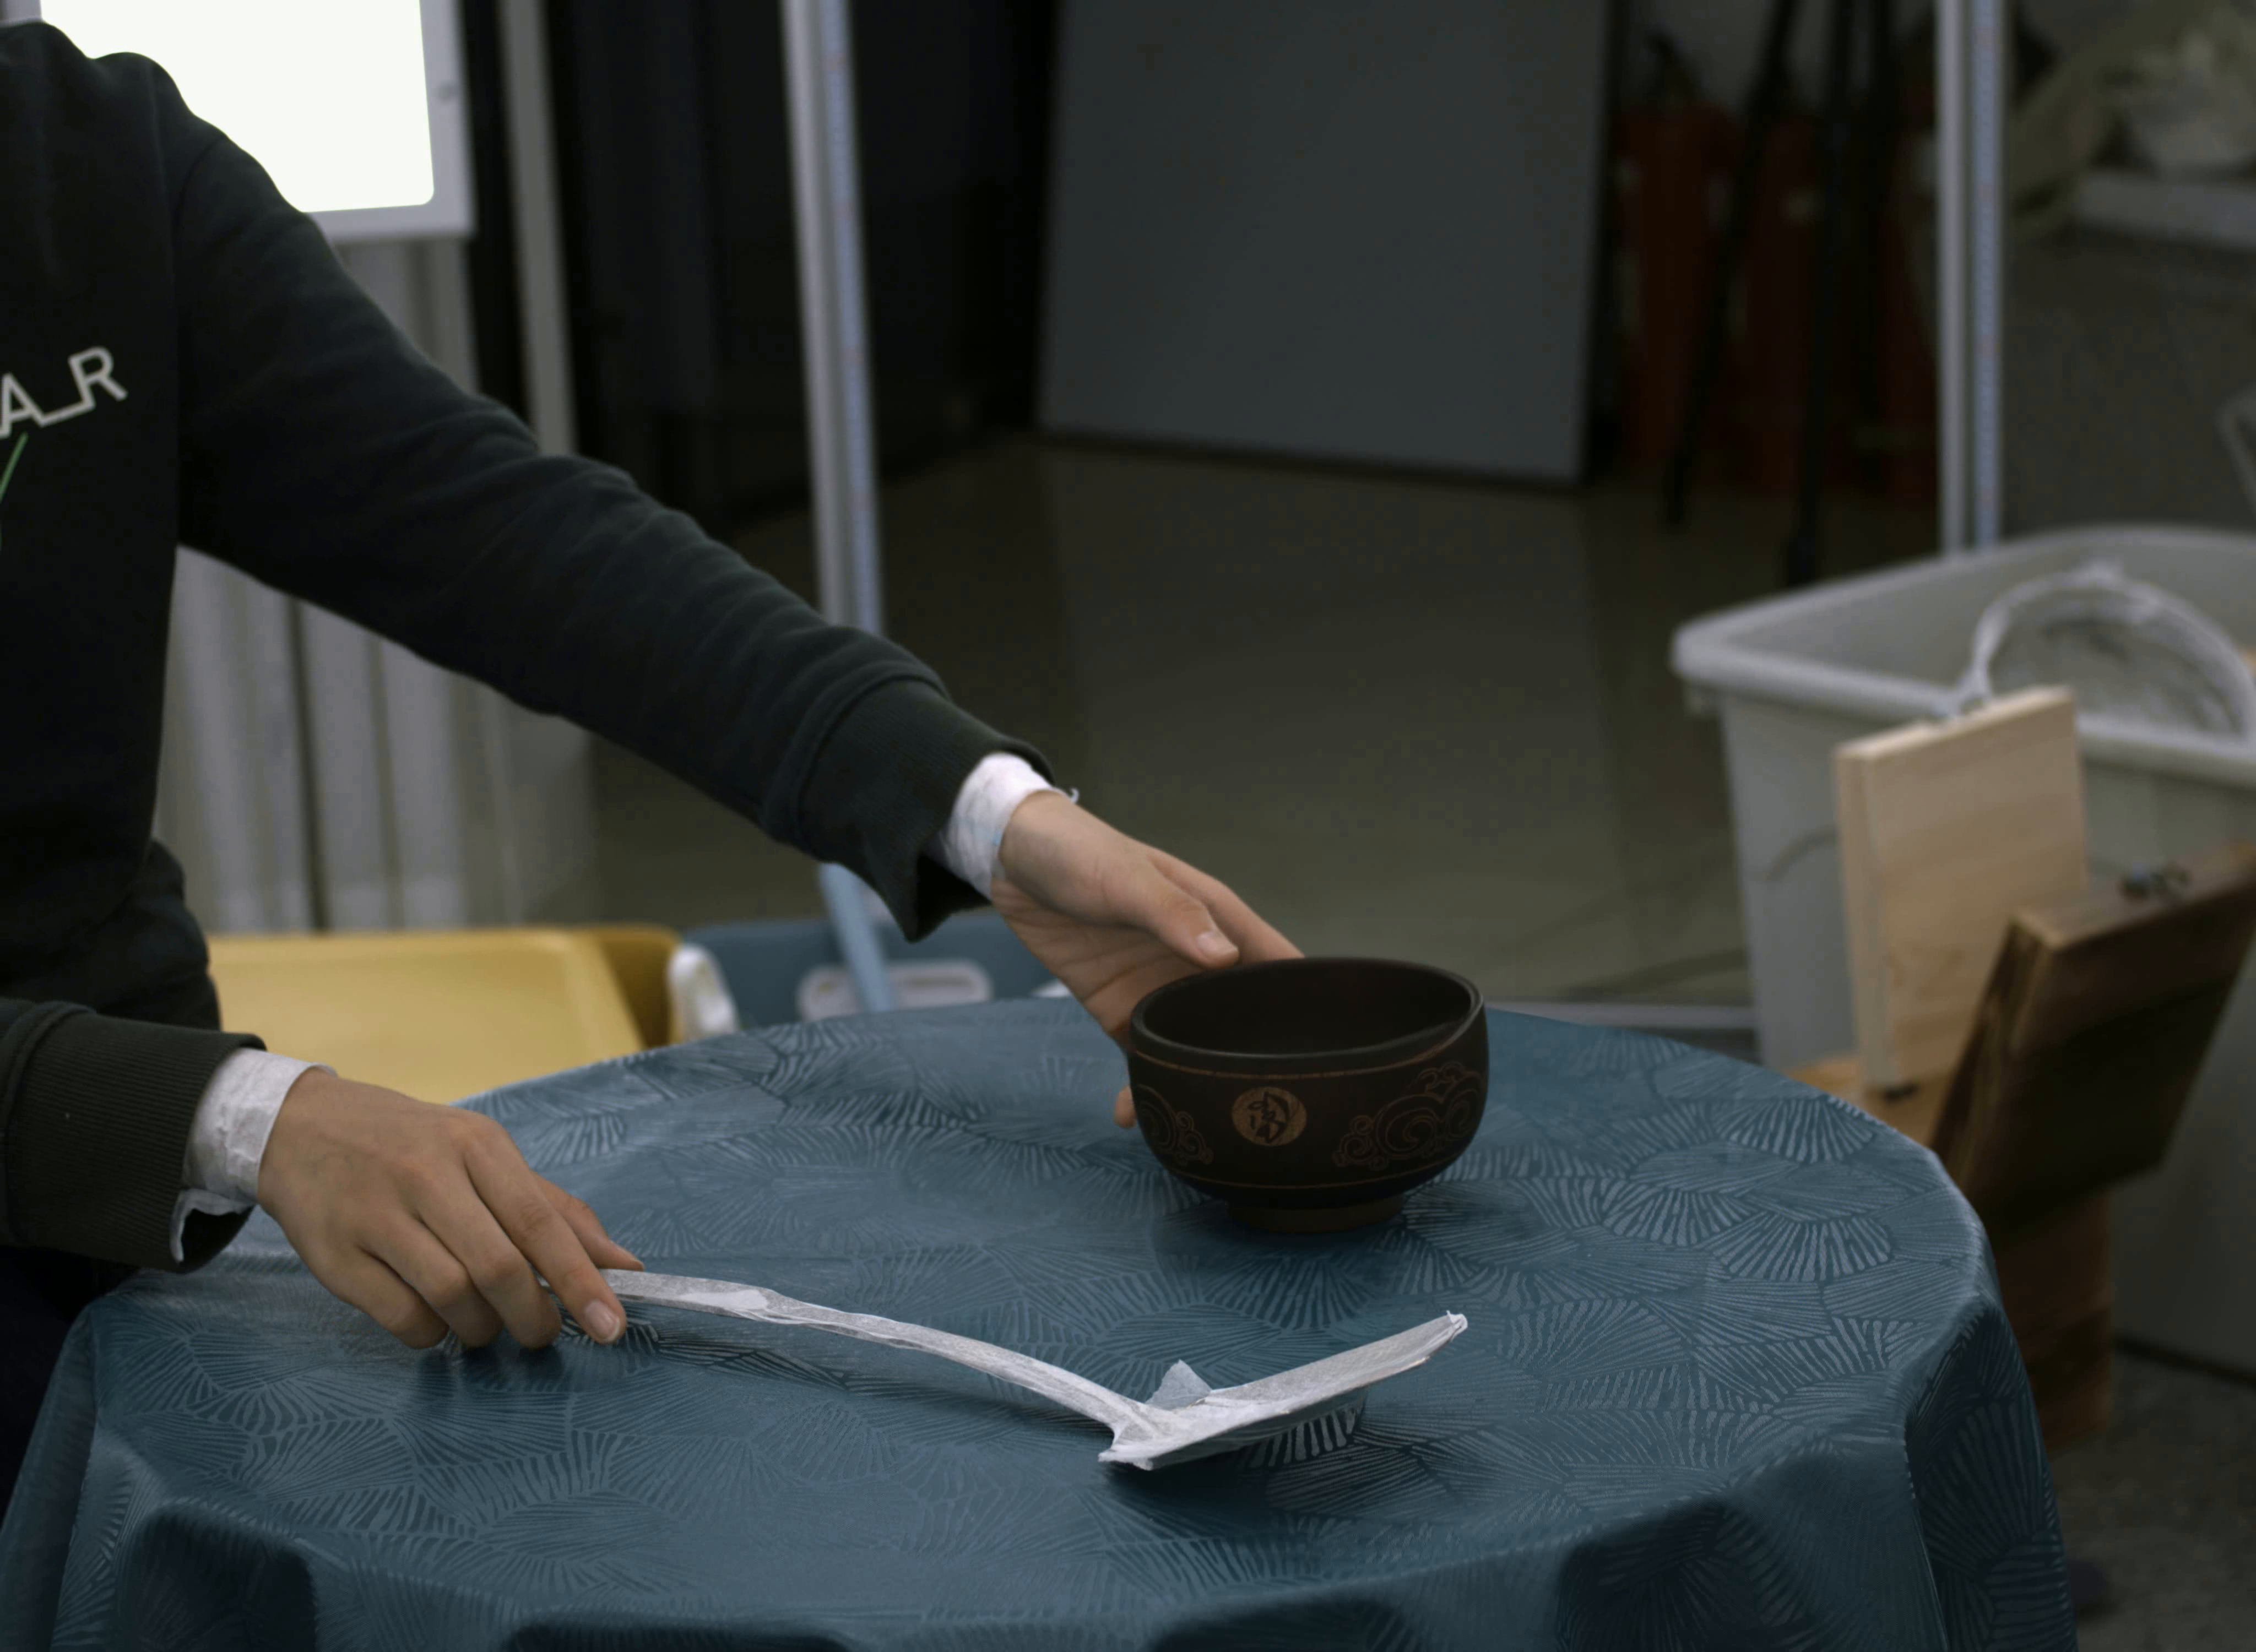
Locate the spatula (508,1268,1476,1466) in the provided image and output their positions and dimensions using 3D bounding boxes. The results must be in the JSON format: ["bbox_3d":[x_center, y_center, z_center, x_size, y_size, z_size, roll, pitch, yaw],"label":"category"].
[{"bbox_3d":[-0.061,0.148,1.600,0.367,0.045,0.097,7,20,38],"label":"spatula"}]

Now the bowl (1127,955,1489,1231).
[{"bbox_3d":[0.059,0.089,1.734,0.116,0.070,0.118,-4,12,0],"label":"bowl"}]
